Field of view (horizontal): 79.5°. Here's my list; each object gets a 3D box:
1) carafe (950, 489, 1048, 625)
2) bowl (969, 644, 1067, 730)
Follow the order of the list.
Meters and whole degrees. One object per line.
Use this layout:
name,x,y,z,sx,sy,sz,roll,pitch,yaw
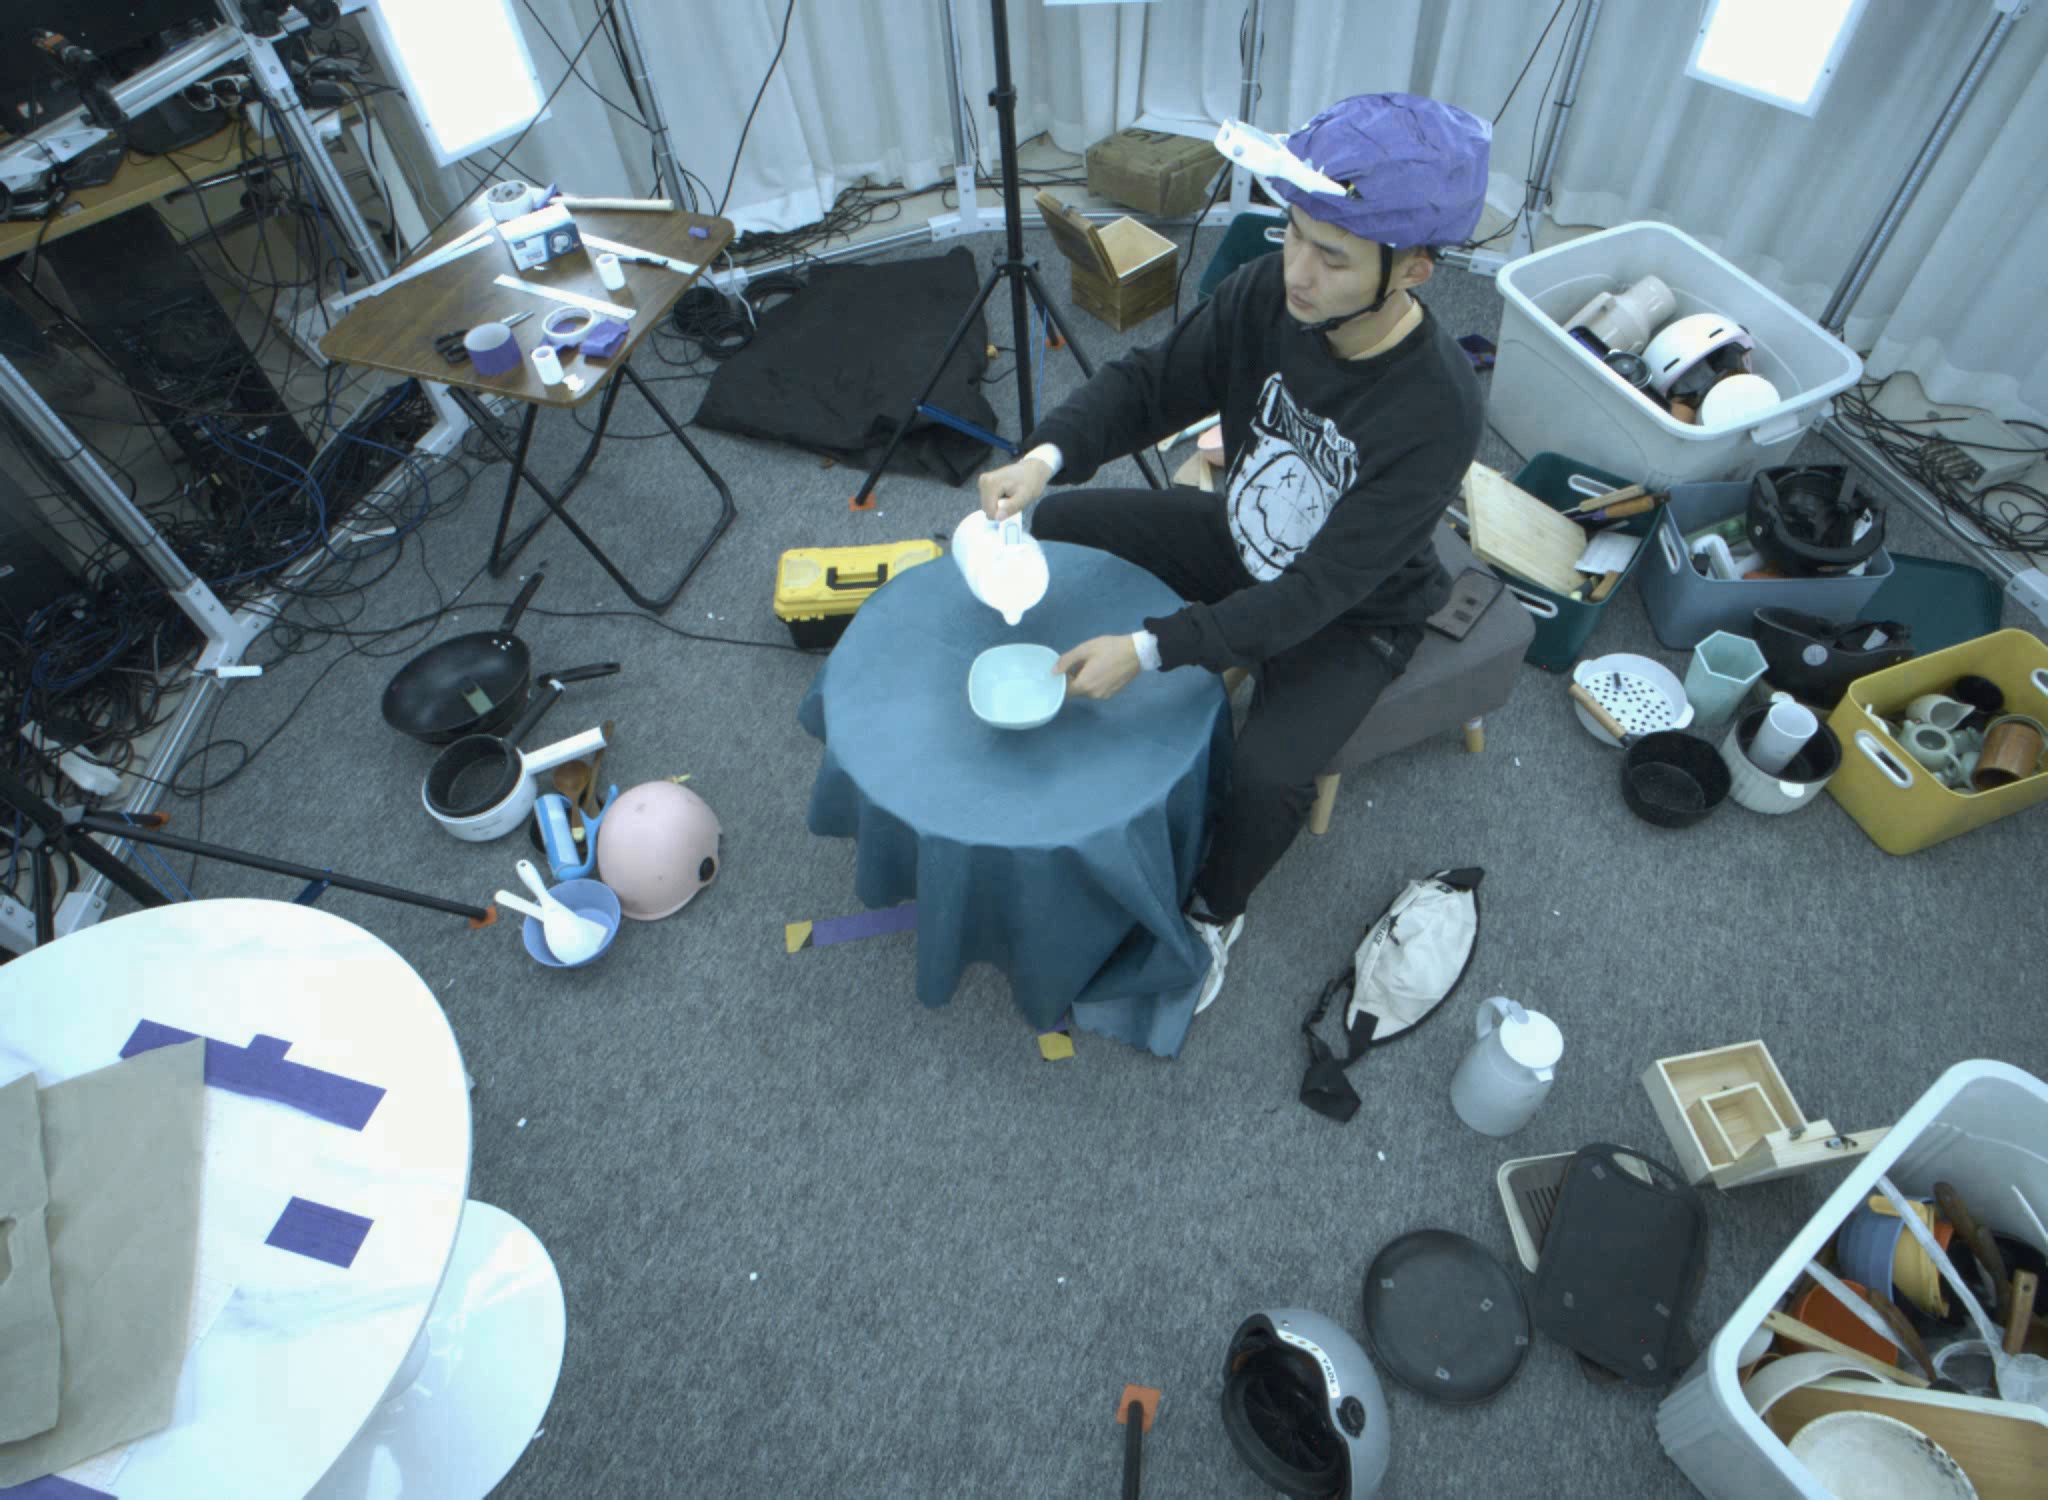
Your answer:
carafe,-0.039,-0.293,1.790,0.124,0.174,0.265,-5,19,-7
bowl,-0.007,-0.080,1.767,0.151,0.059,0.150,-1,58,3
